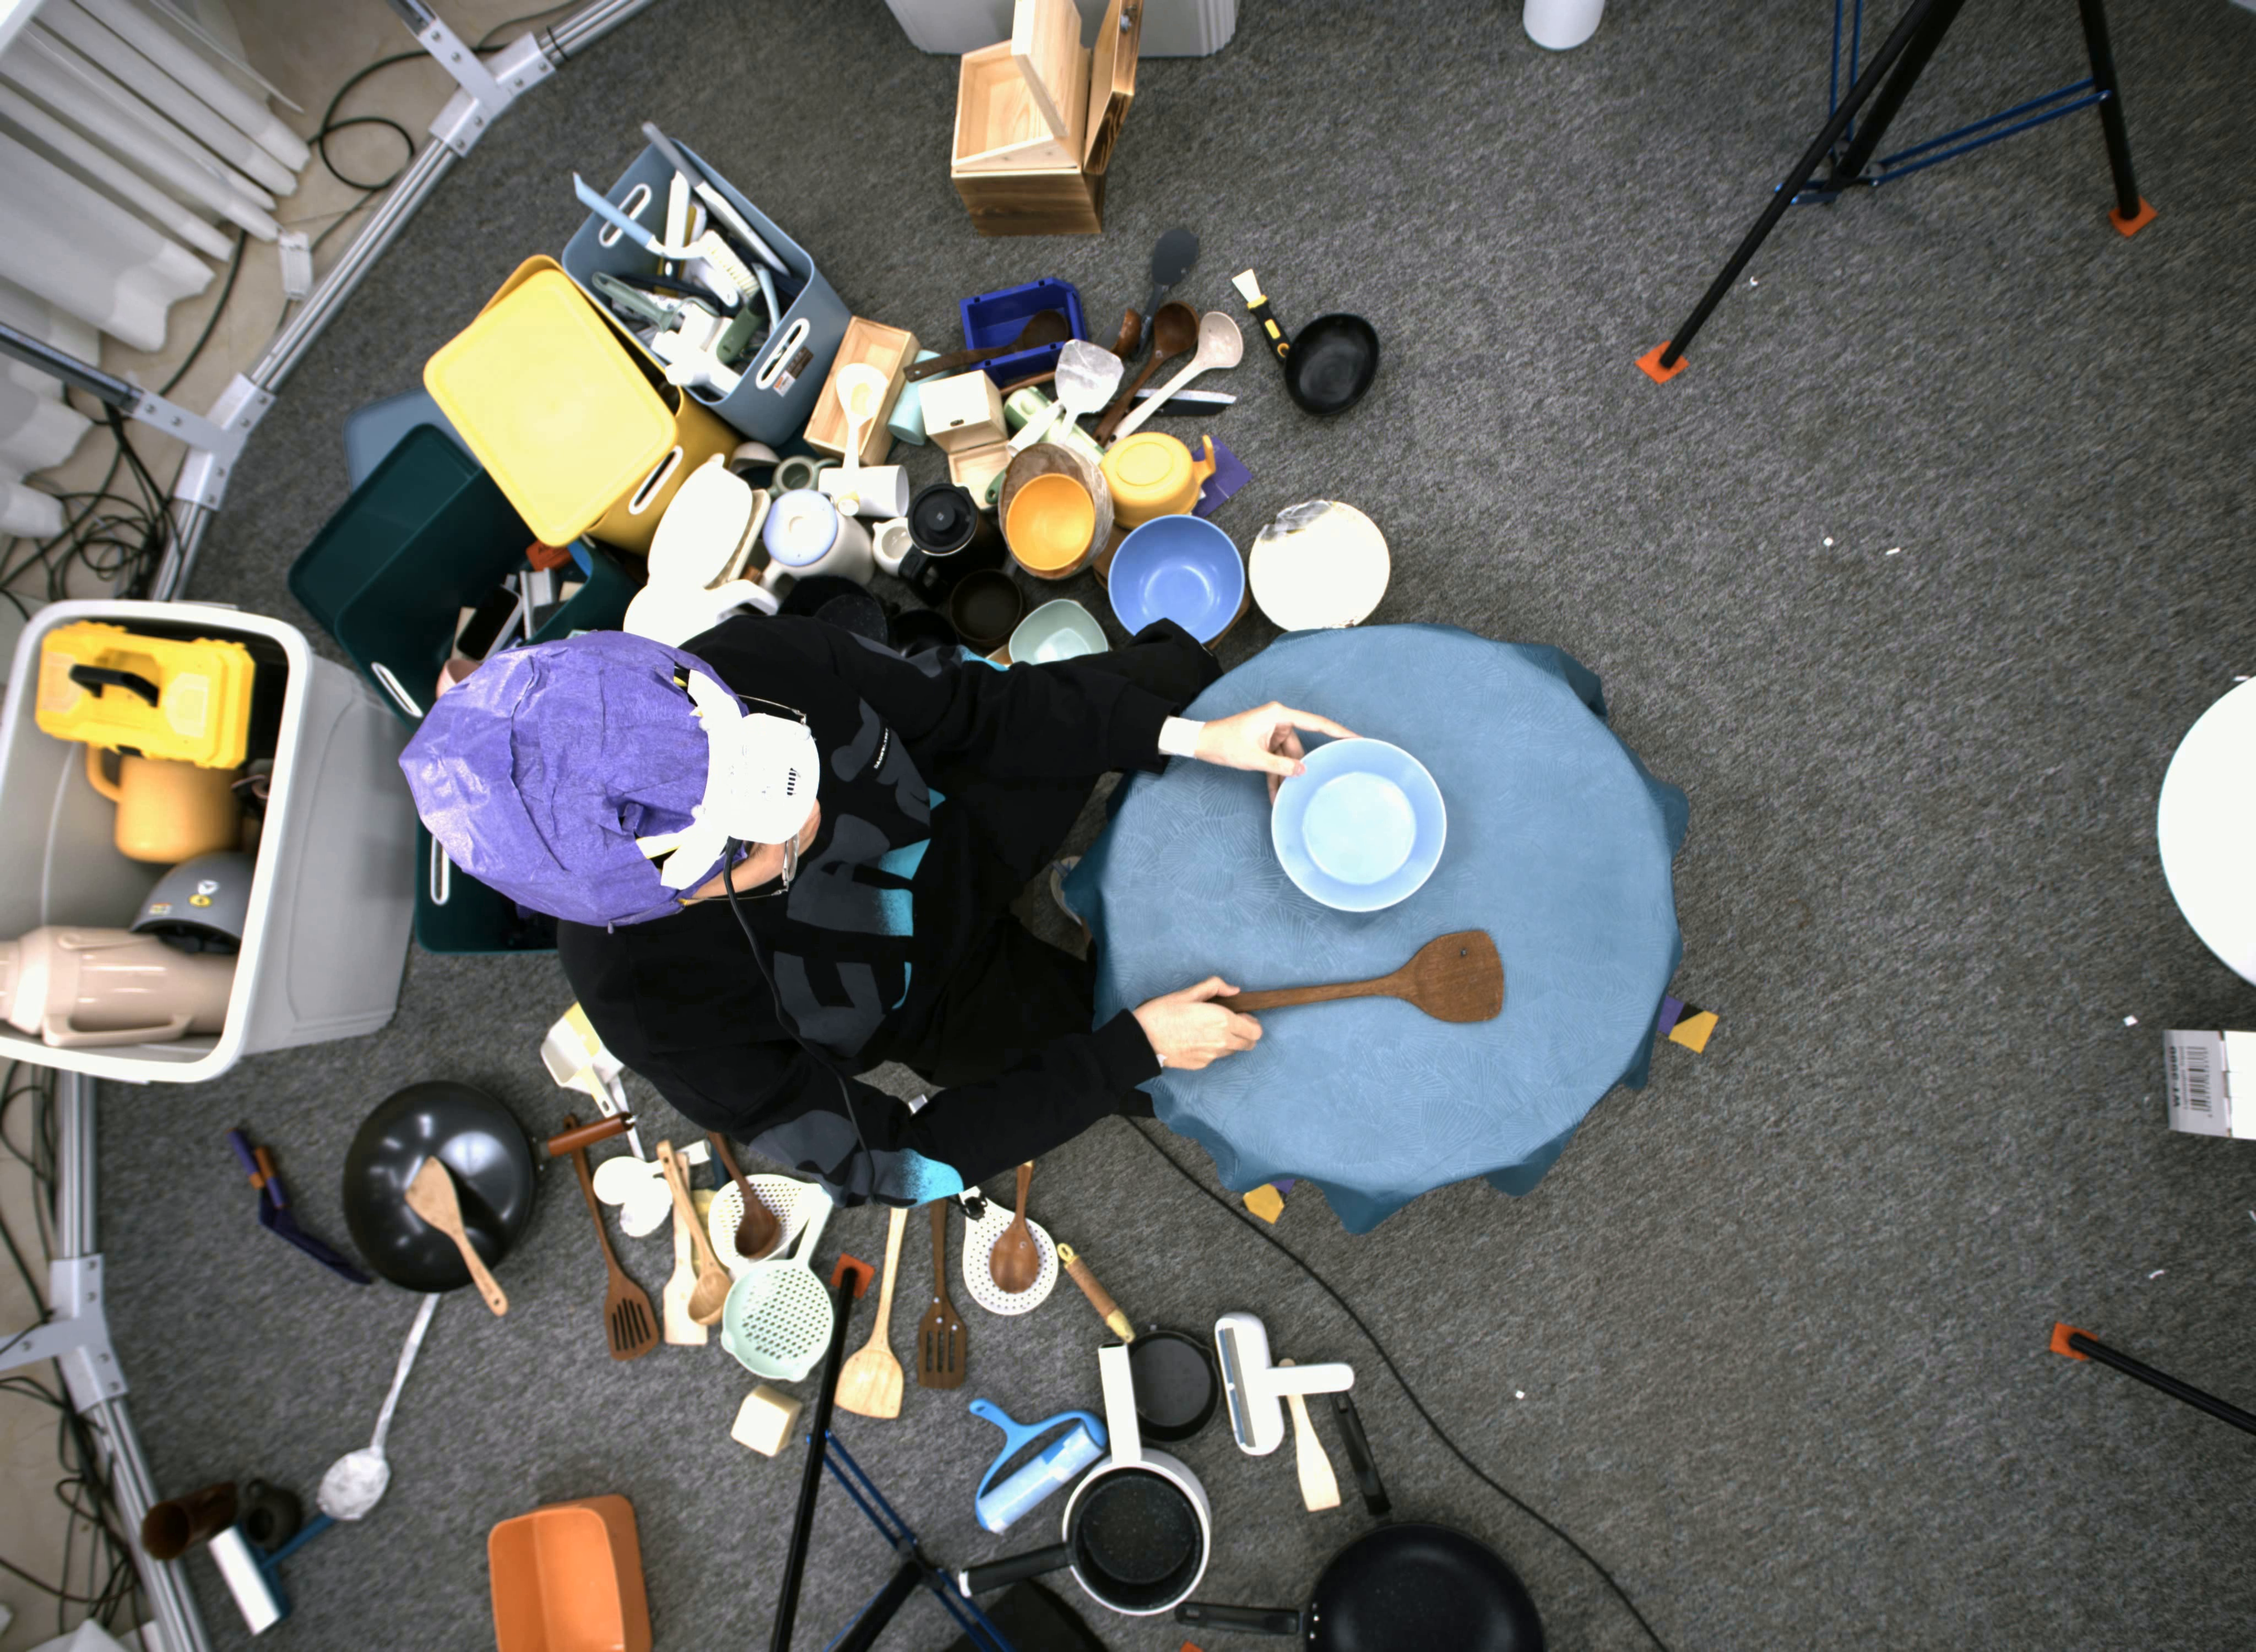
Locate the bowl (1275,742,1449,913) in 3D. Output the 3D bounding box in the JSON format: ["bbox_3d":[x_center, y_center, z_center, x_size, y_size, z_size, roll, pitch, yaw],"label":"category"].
[{"bbox_3d":[0.243,0.002,1.431,0.177,0.070,0.175,-1,88,12],"label":"bowl"}]

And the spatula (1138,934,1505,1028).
[{"bbox_3d":[0.201,0.178,1.456,0.387,0.016,0.095,-7,84,6],"label":"spatula"}]
